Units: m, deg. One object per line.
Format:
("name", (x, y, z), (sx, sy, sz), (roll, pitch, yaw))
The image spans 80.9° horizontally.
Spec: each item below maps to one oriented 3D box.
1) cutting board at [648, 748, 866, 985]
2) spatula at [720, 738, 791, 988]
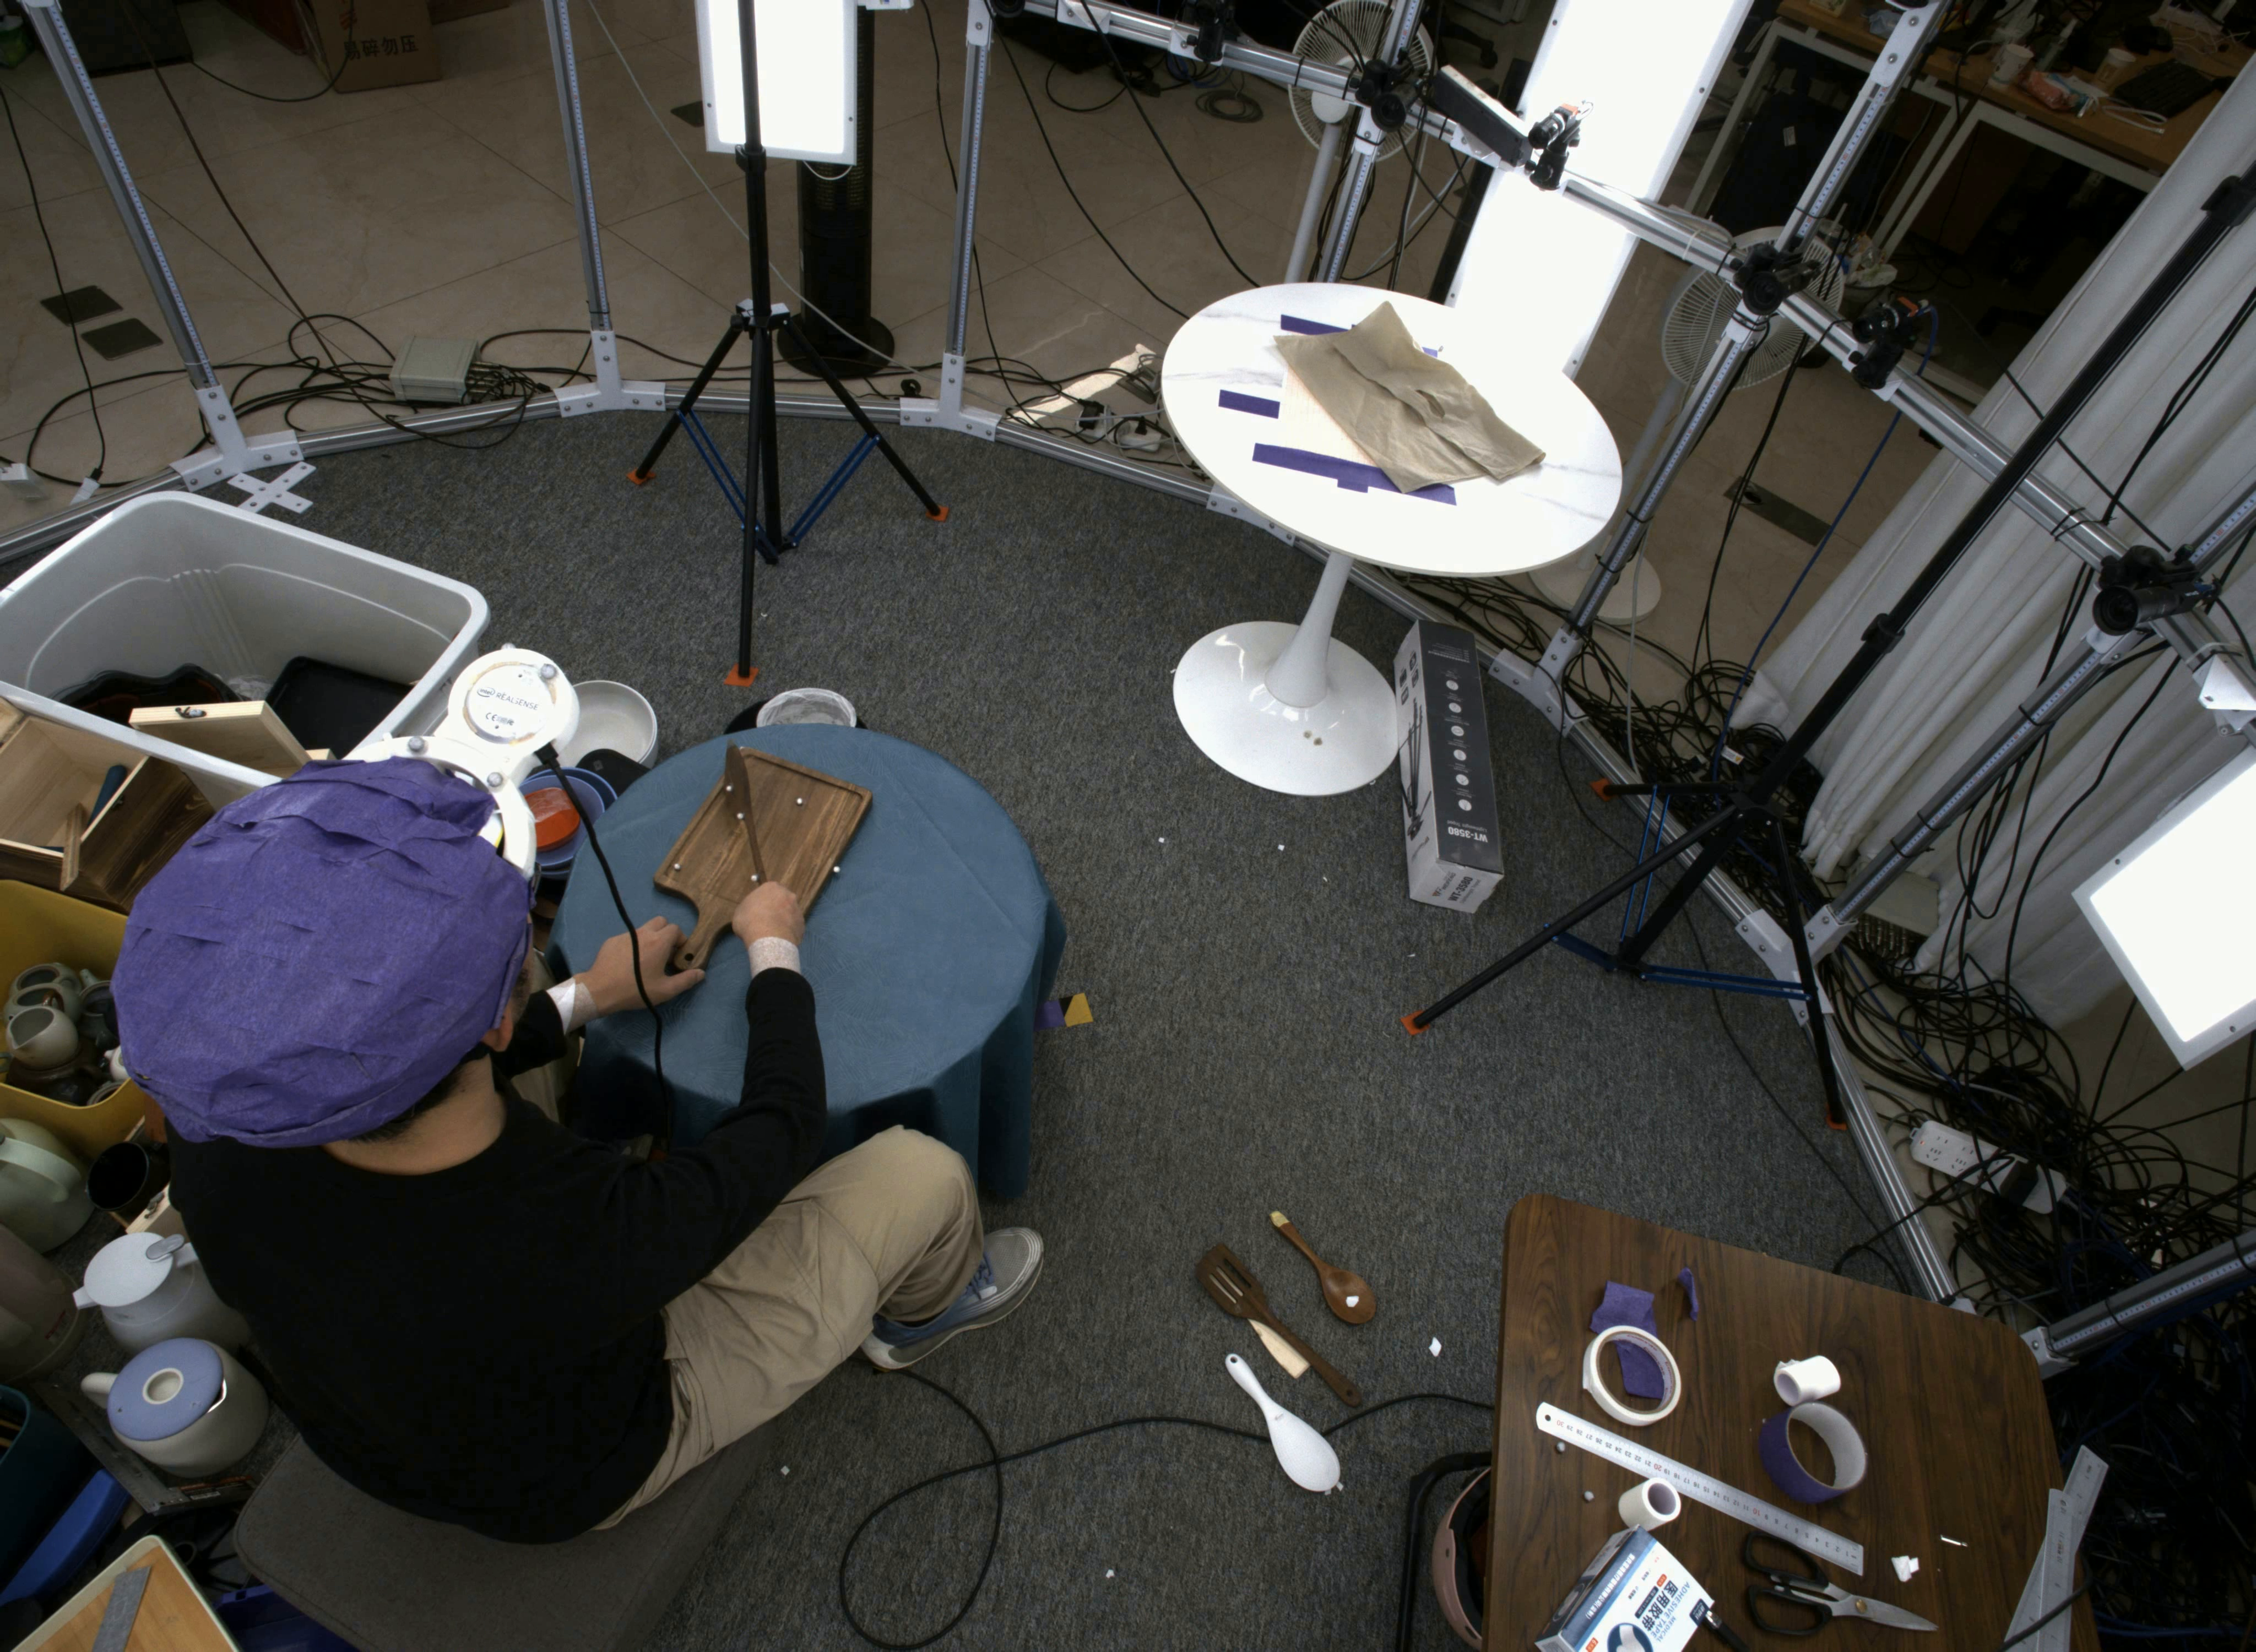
("cutting board", (-0.490, 0.052, 1.649), (0.199, 0.023, 0.348), (19, 52, 1))
("spatula", (-0.458, 0.044, 1.574), (0.016, 0.098, 0.374), (-7, 50, -26))
